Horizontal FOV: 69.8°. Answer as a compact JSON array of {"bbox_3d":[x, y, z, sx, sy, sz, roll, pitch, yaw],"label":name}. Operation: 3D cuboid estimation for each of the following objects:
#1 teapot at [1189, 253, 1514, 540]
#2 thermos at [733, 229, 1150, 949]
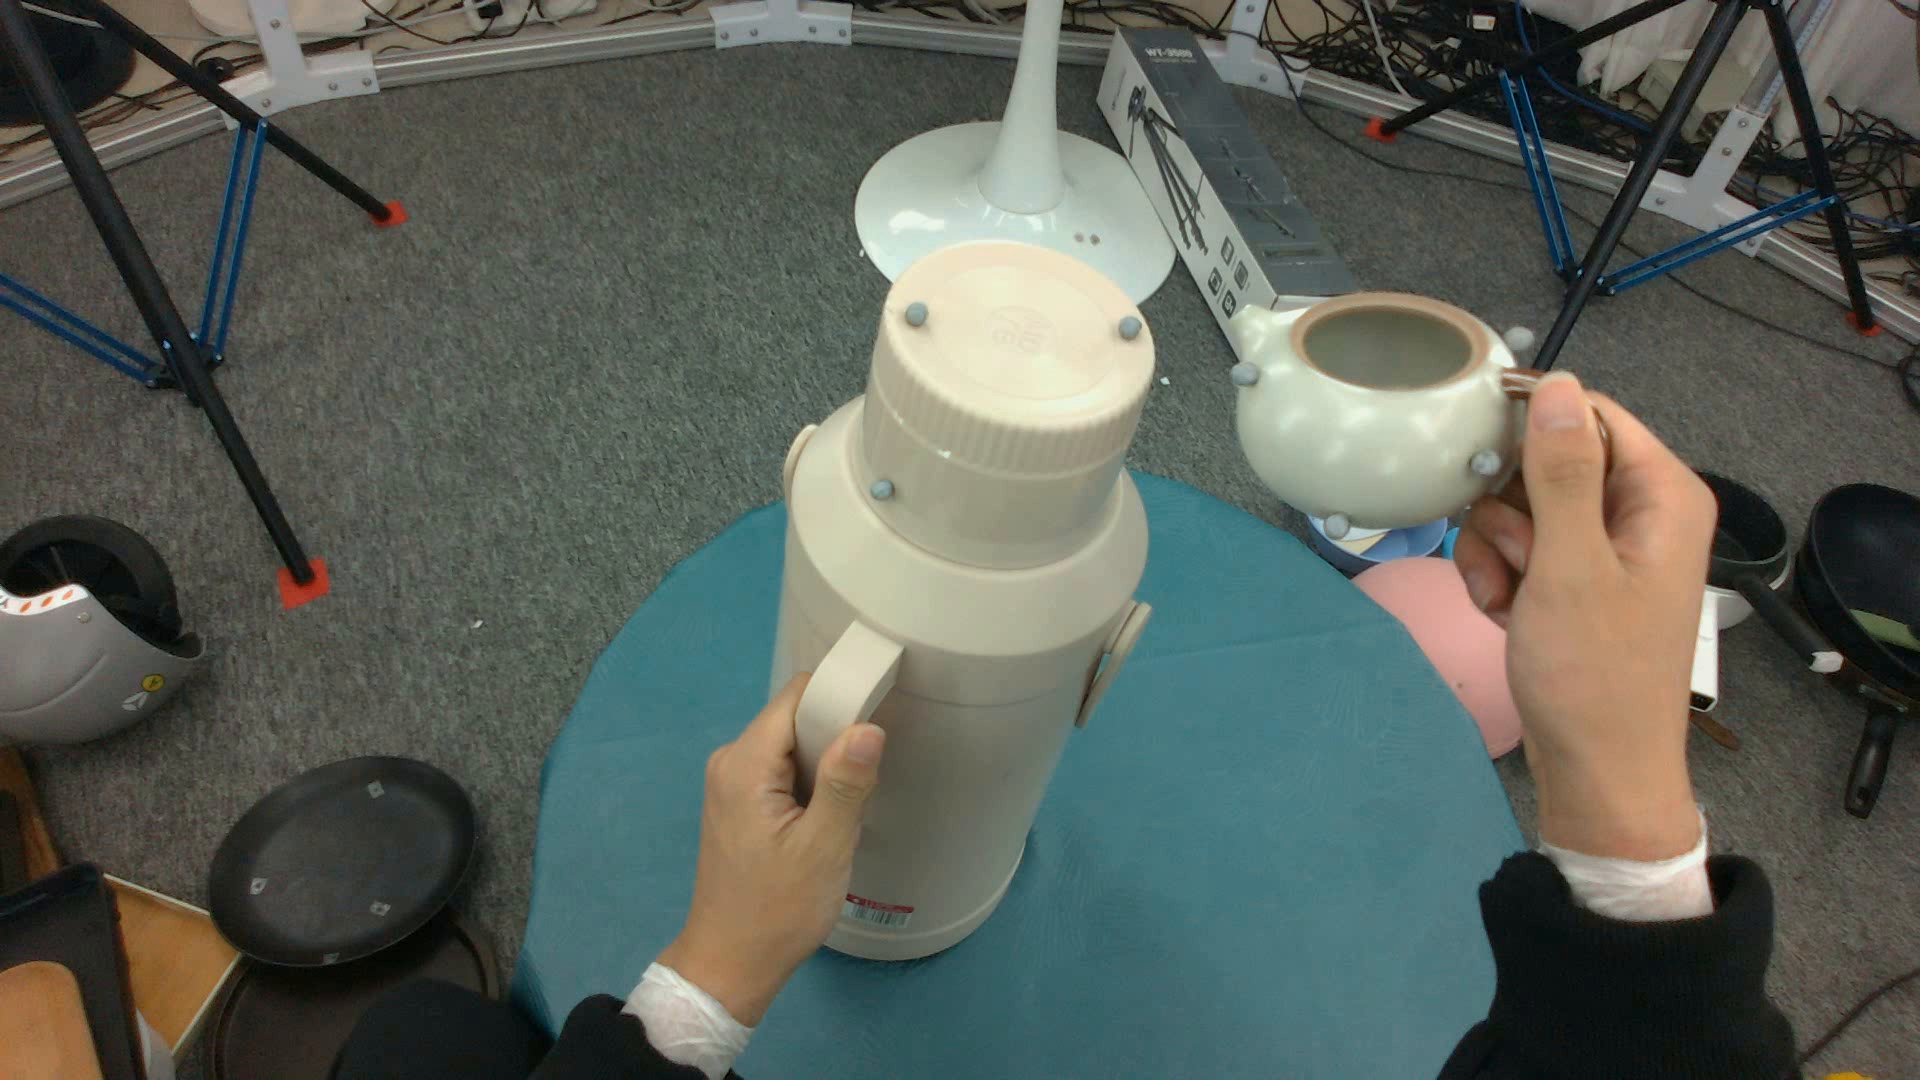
[{"bbox_3d":[0.132,-0.046,0.469,0.128,0.059,0.092,40,67,17],"label":"teapot"},{"bbox_3d":[-0.024,0.051,0.655,0.175,0.404,0.208,29,49,9],"label":"thermos"}]
